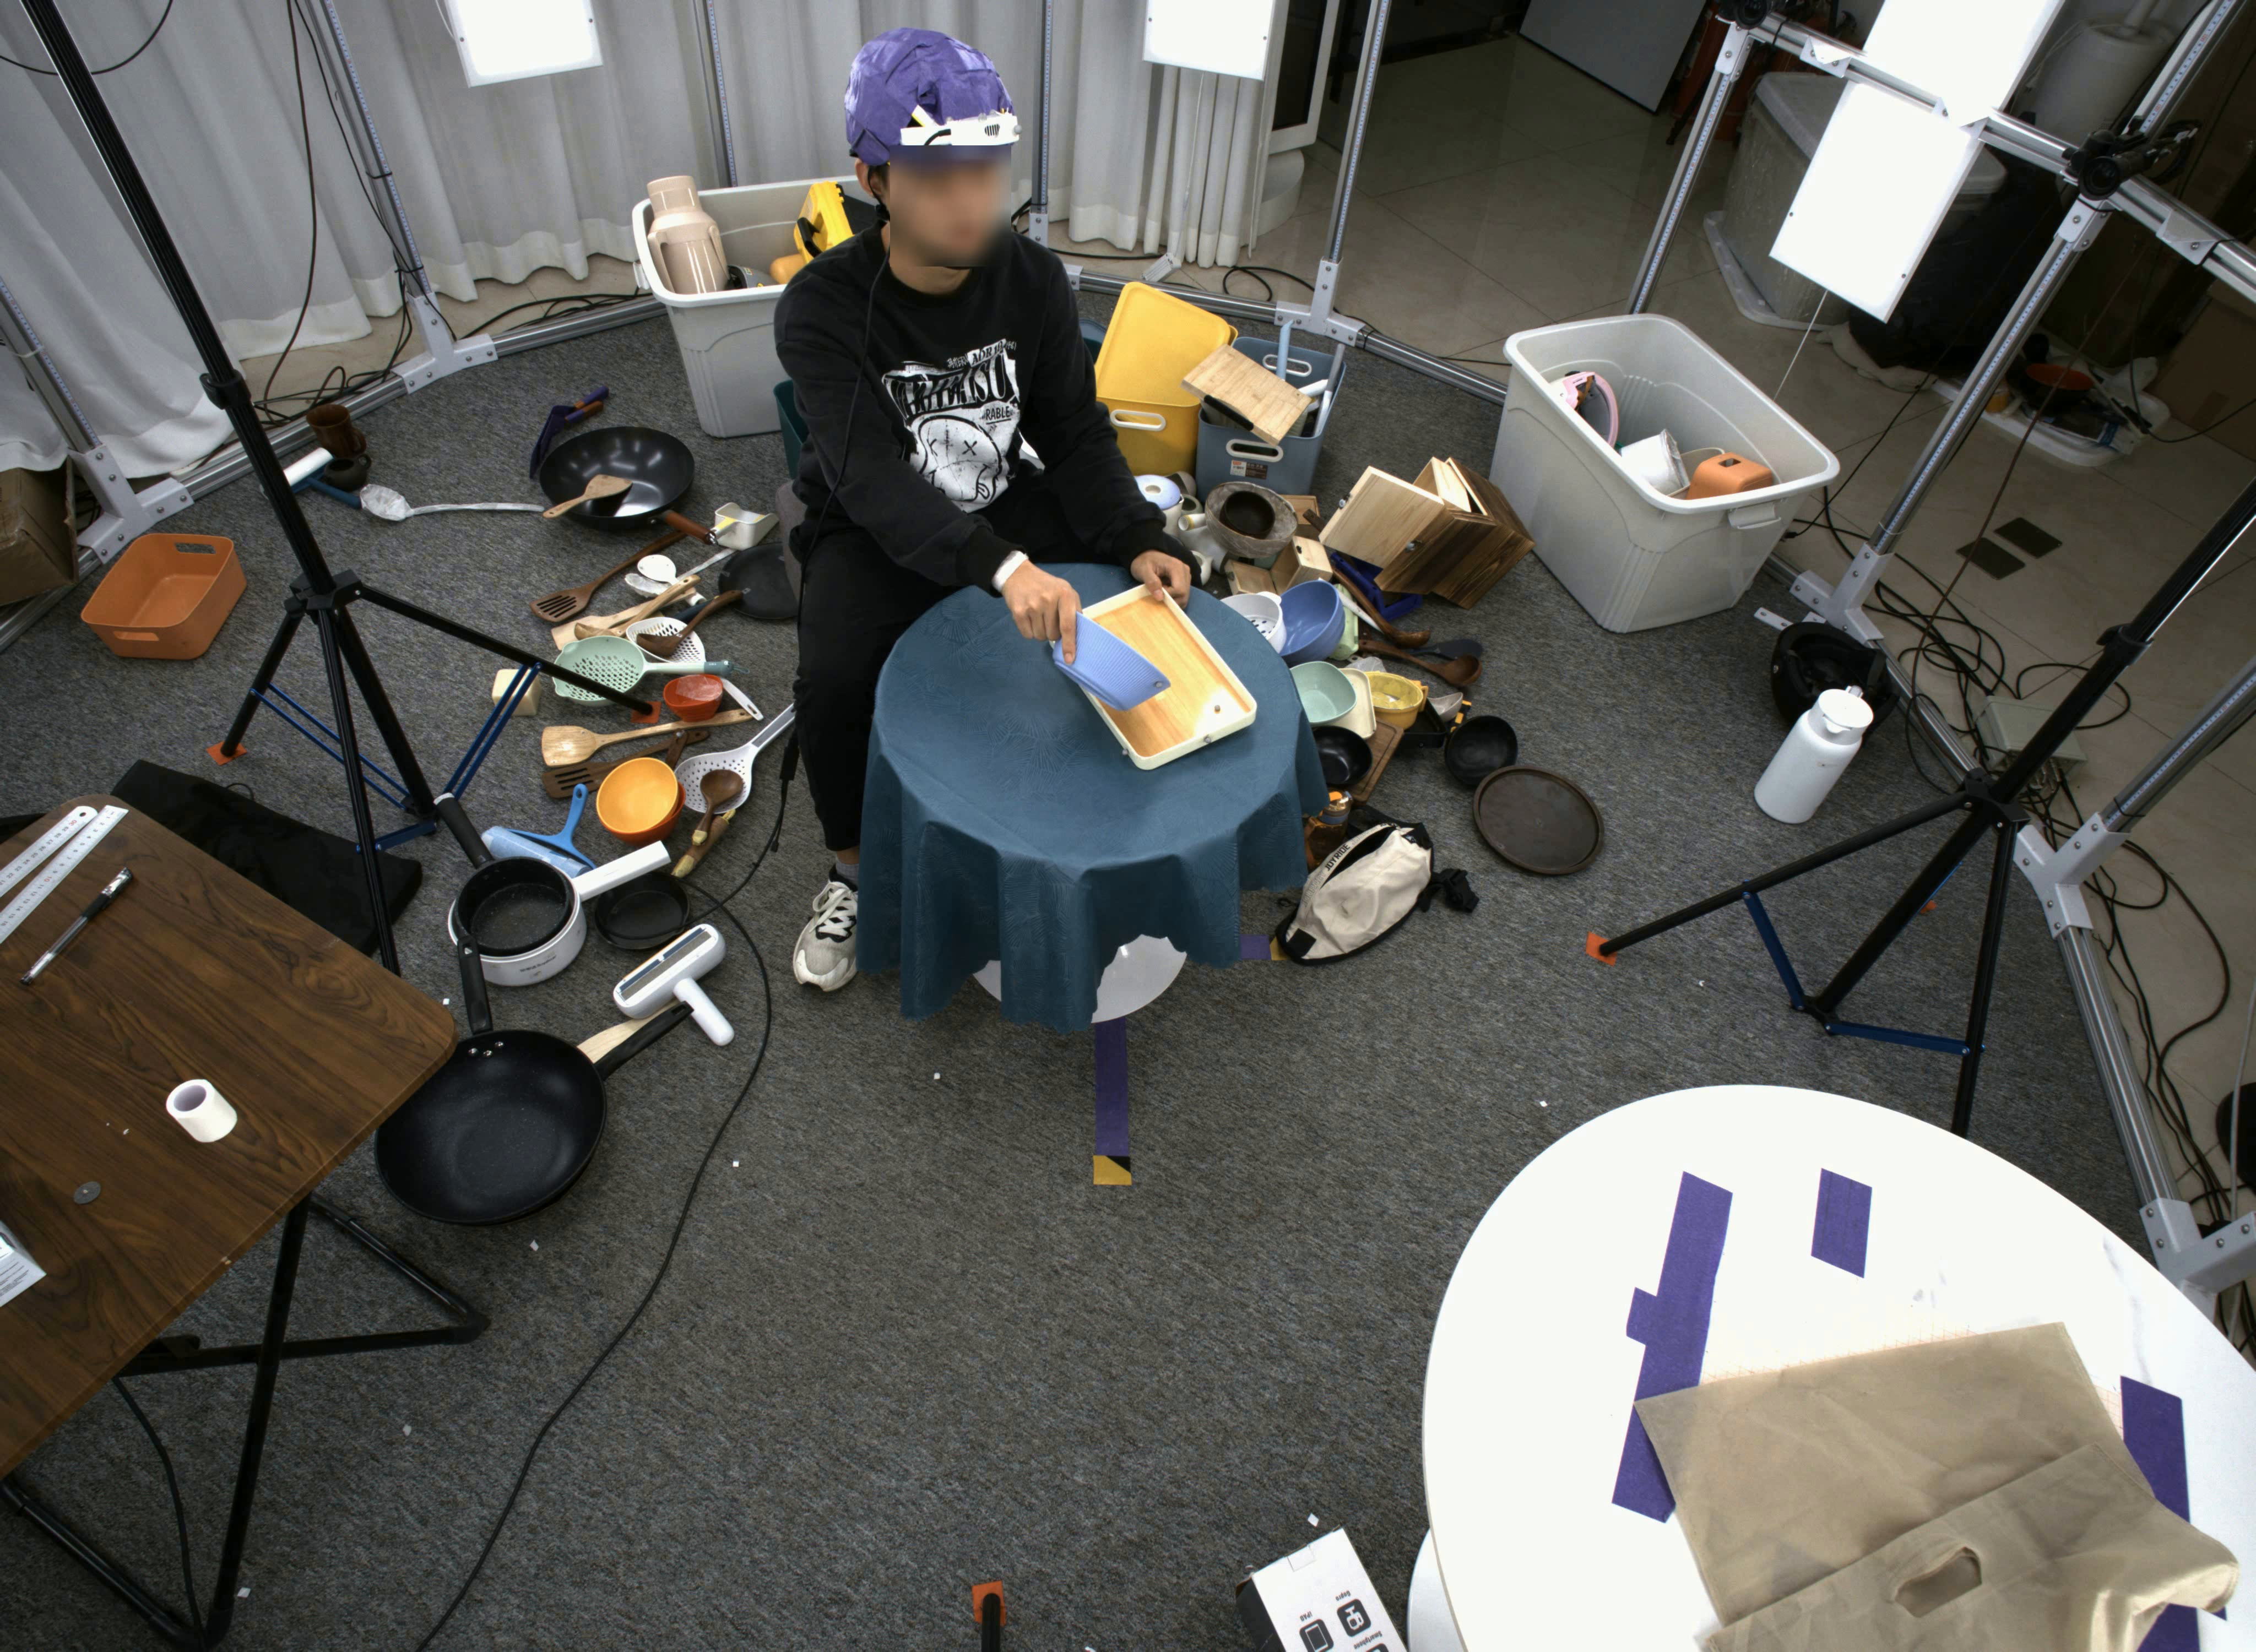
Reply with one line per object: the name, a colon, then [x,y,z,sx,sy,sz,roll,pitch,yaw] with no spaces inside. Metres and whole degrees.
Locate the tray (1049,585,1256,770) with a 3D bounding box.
tray: [0.032,-0.219,1.845,0.192,0.027,0.307,-25,55,-14]

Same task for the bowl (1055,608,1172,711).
bowl: [-0.032,-0.211,1.701,0.178,0.173,0.070,35,89,23]
